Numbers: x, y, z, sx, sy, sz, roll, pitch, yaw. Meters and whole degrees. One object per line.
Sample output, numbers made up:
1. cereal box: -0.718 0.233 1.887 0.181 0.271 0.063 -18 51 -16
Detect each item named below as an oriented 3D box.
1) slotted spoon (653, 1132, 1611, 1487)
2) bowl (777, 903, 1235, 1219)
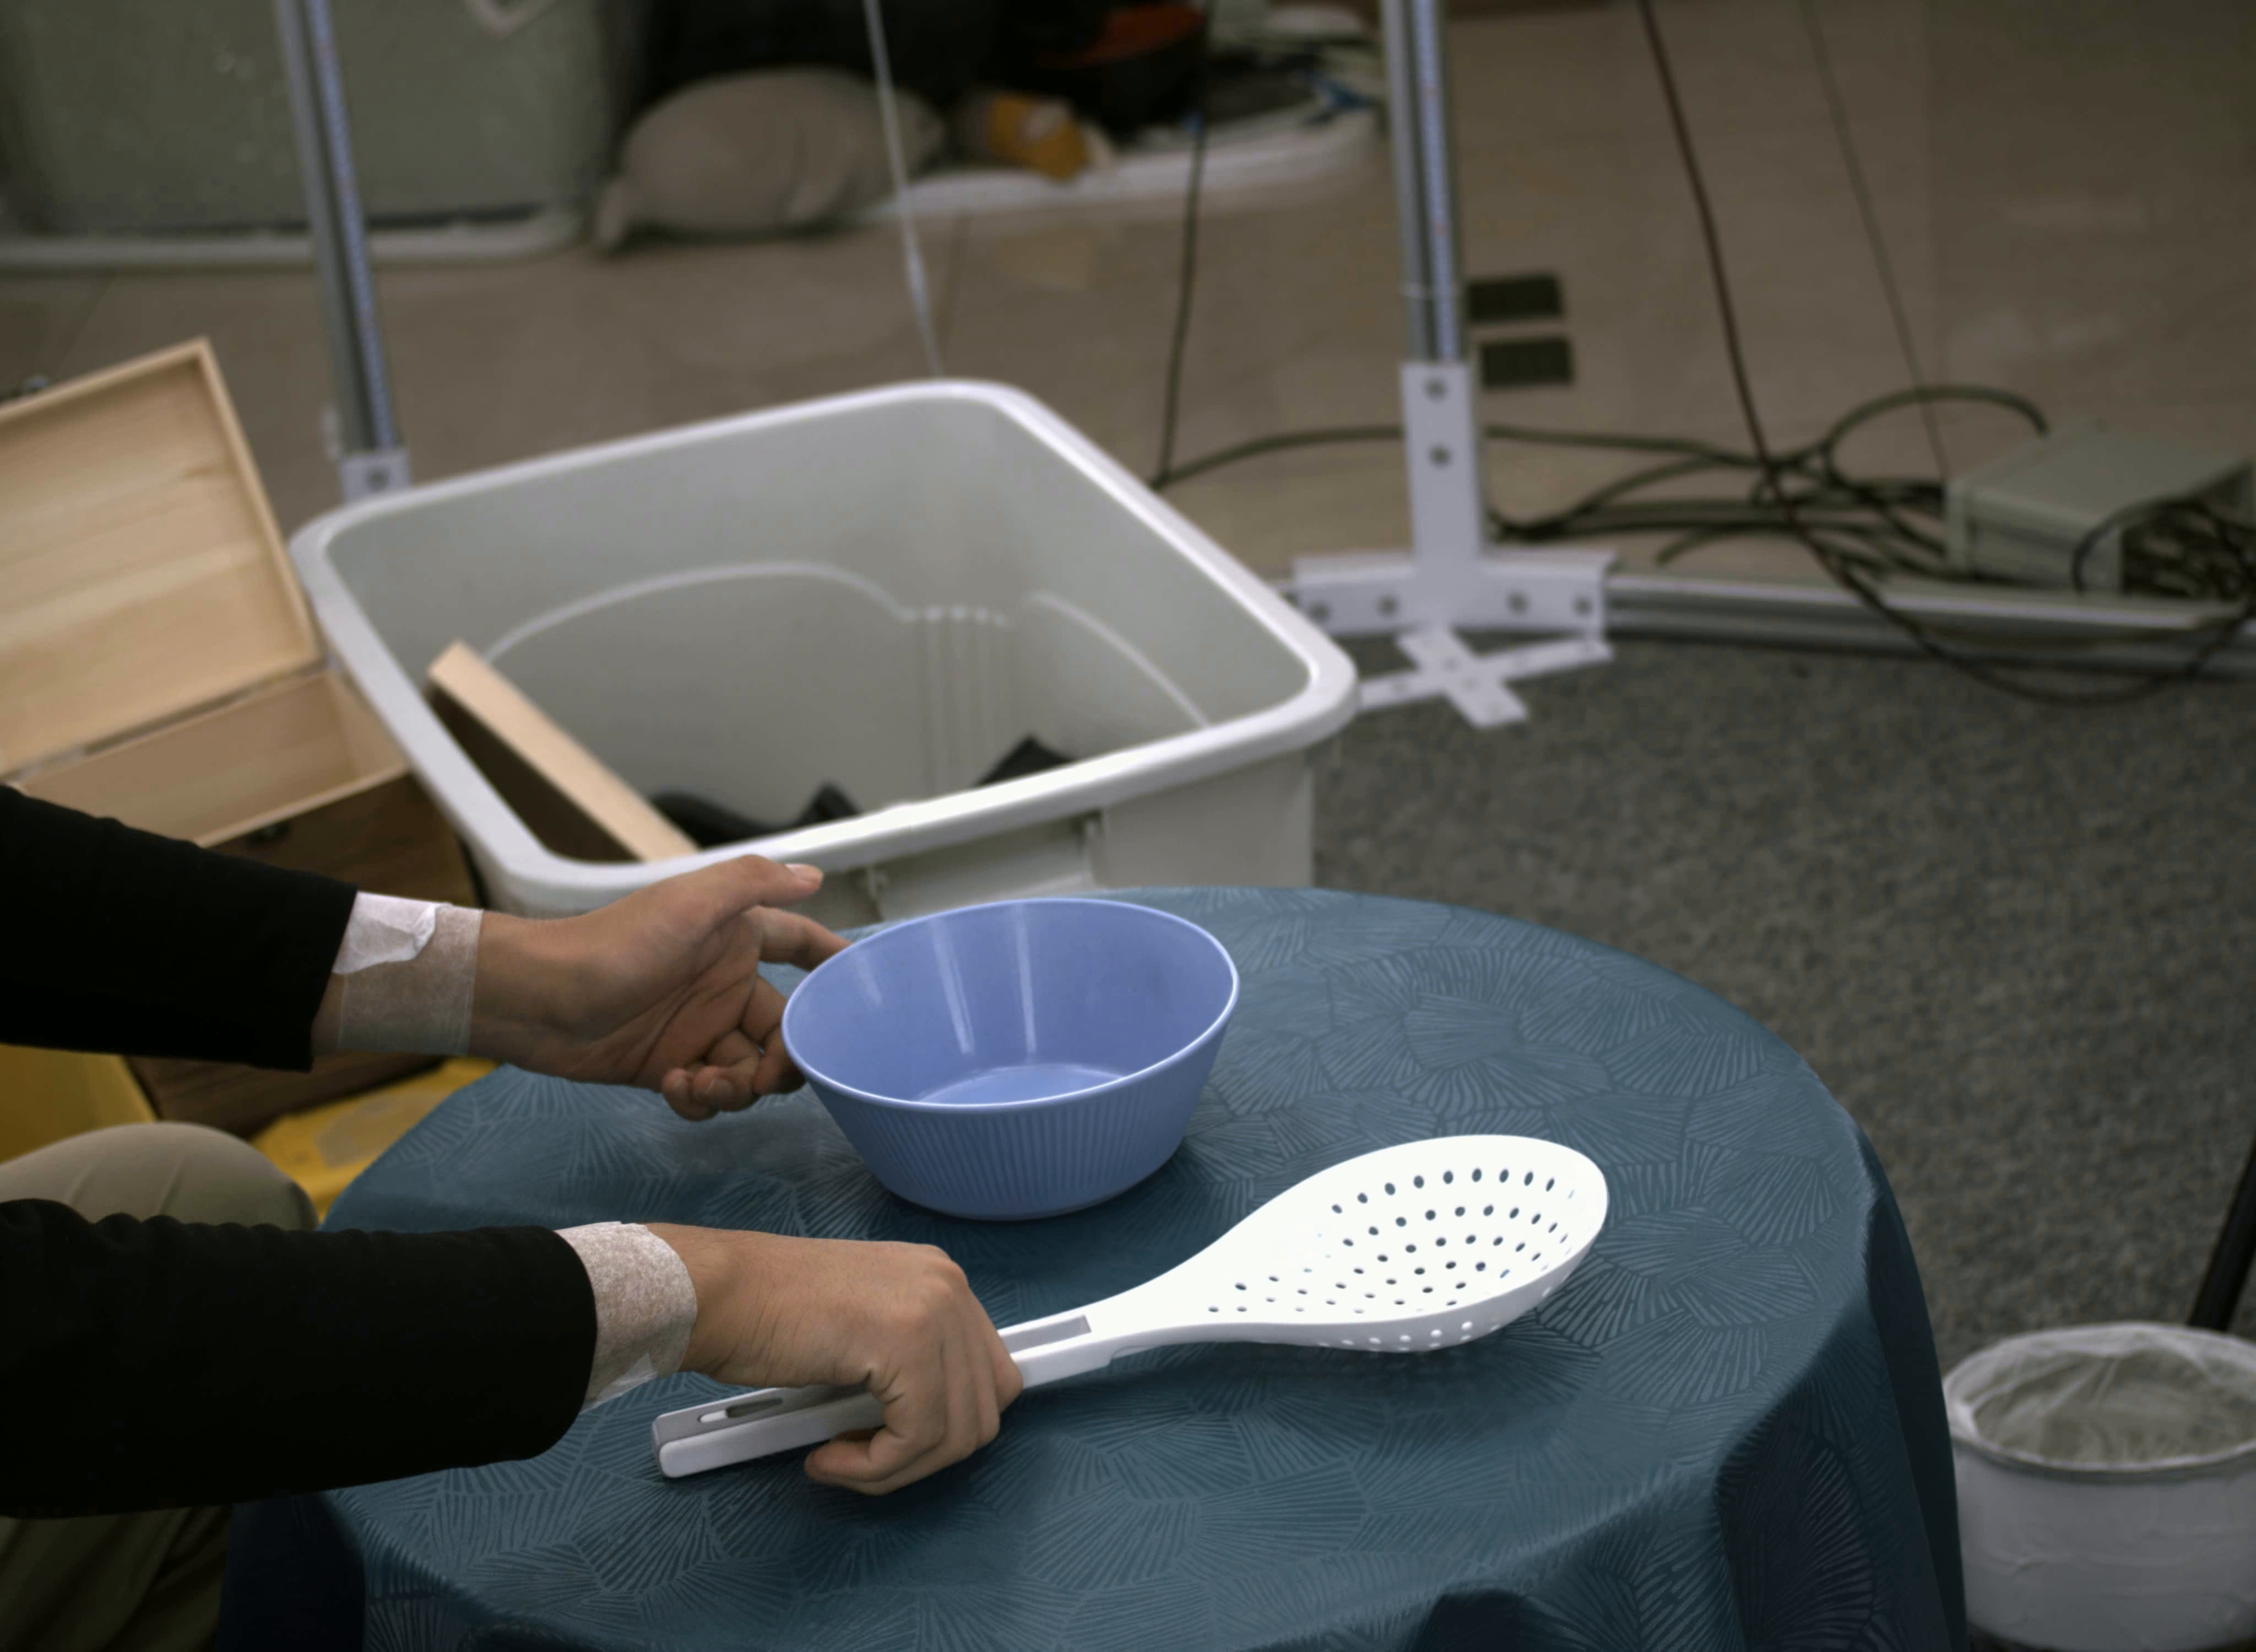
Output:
1. slotted spoon: 0.002 0.177 2.011 0.349 0.046 0.134 -11 24 -7
2. bowl: -0.043 0.095 2.168 0.176 0.071 0.173 -6 25 3
